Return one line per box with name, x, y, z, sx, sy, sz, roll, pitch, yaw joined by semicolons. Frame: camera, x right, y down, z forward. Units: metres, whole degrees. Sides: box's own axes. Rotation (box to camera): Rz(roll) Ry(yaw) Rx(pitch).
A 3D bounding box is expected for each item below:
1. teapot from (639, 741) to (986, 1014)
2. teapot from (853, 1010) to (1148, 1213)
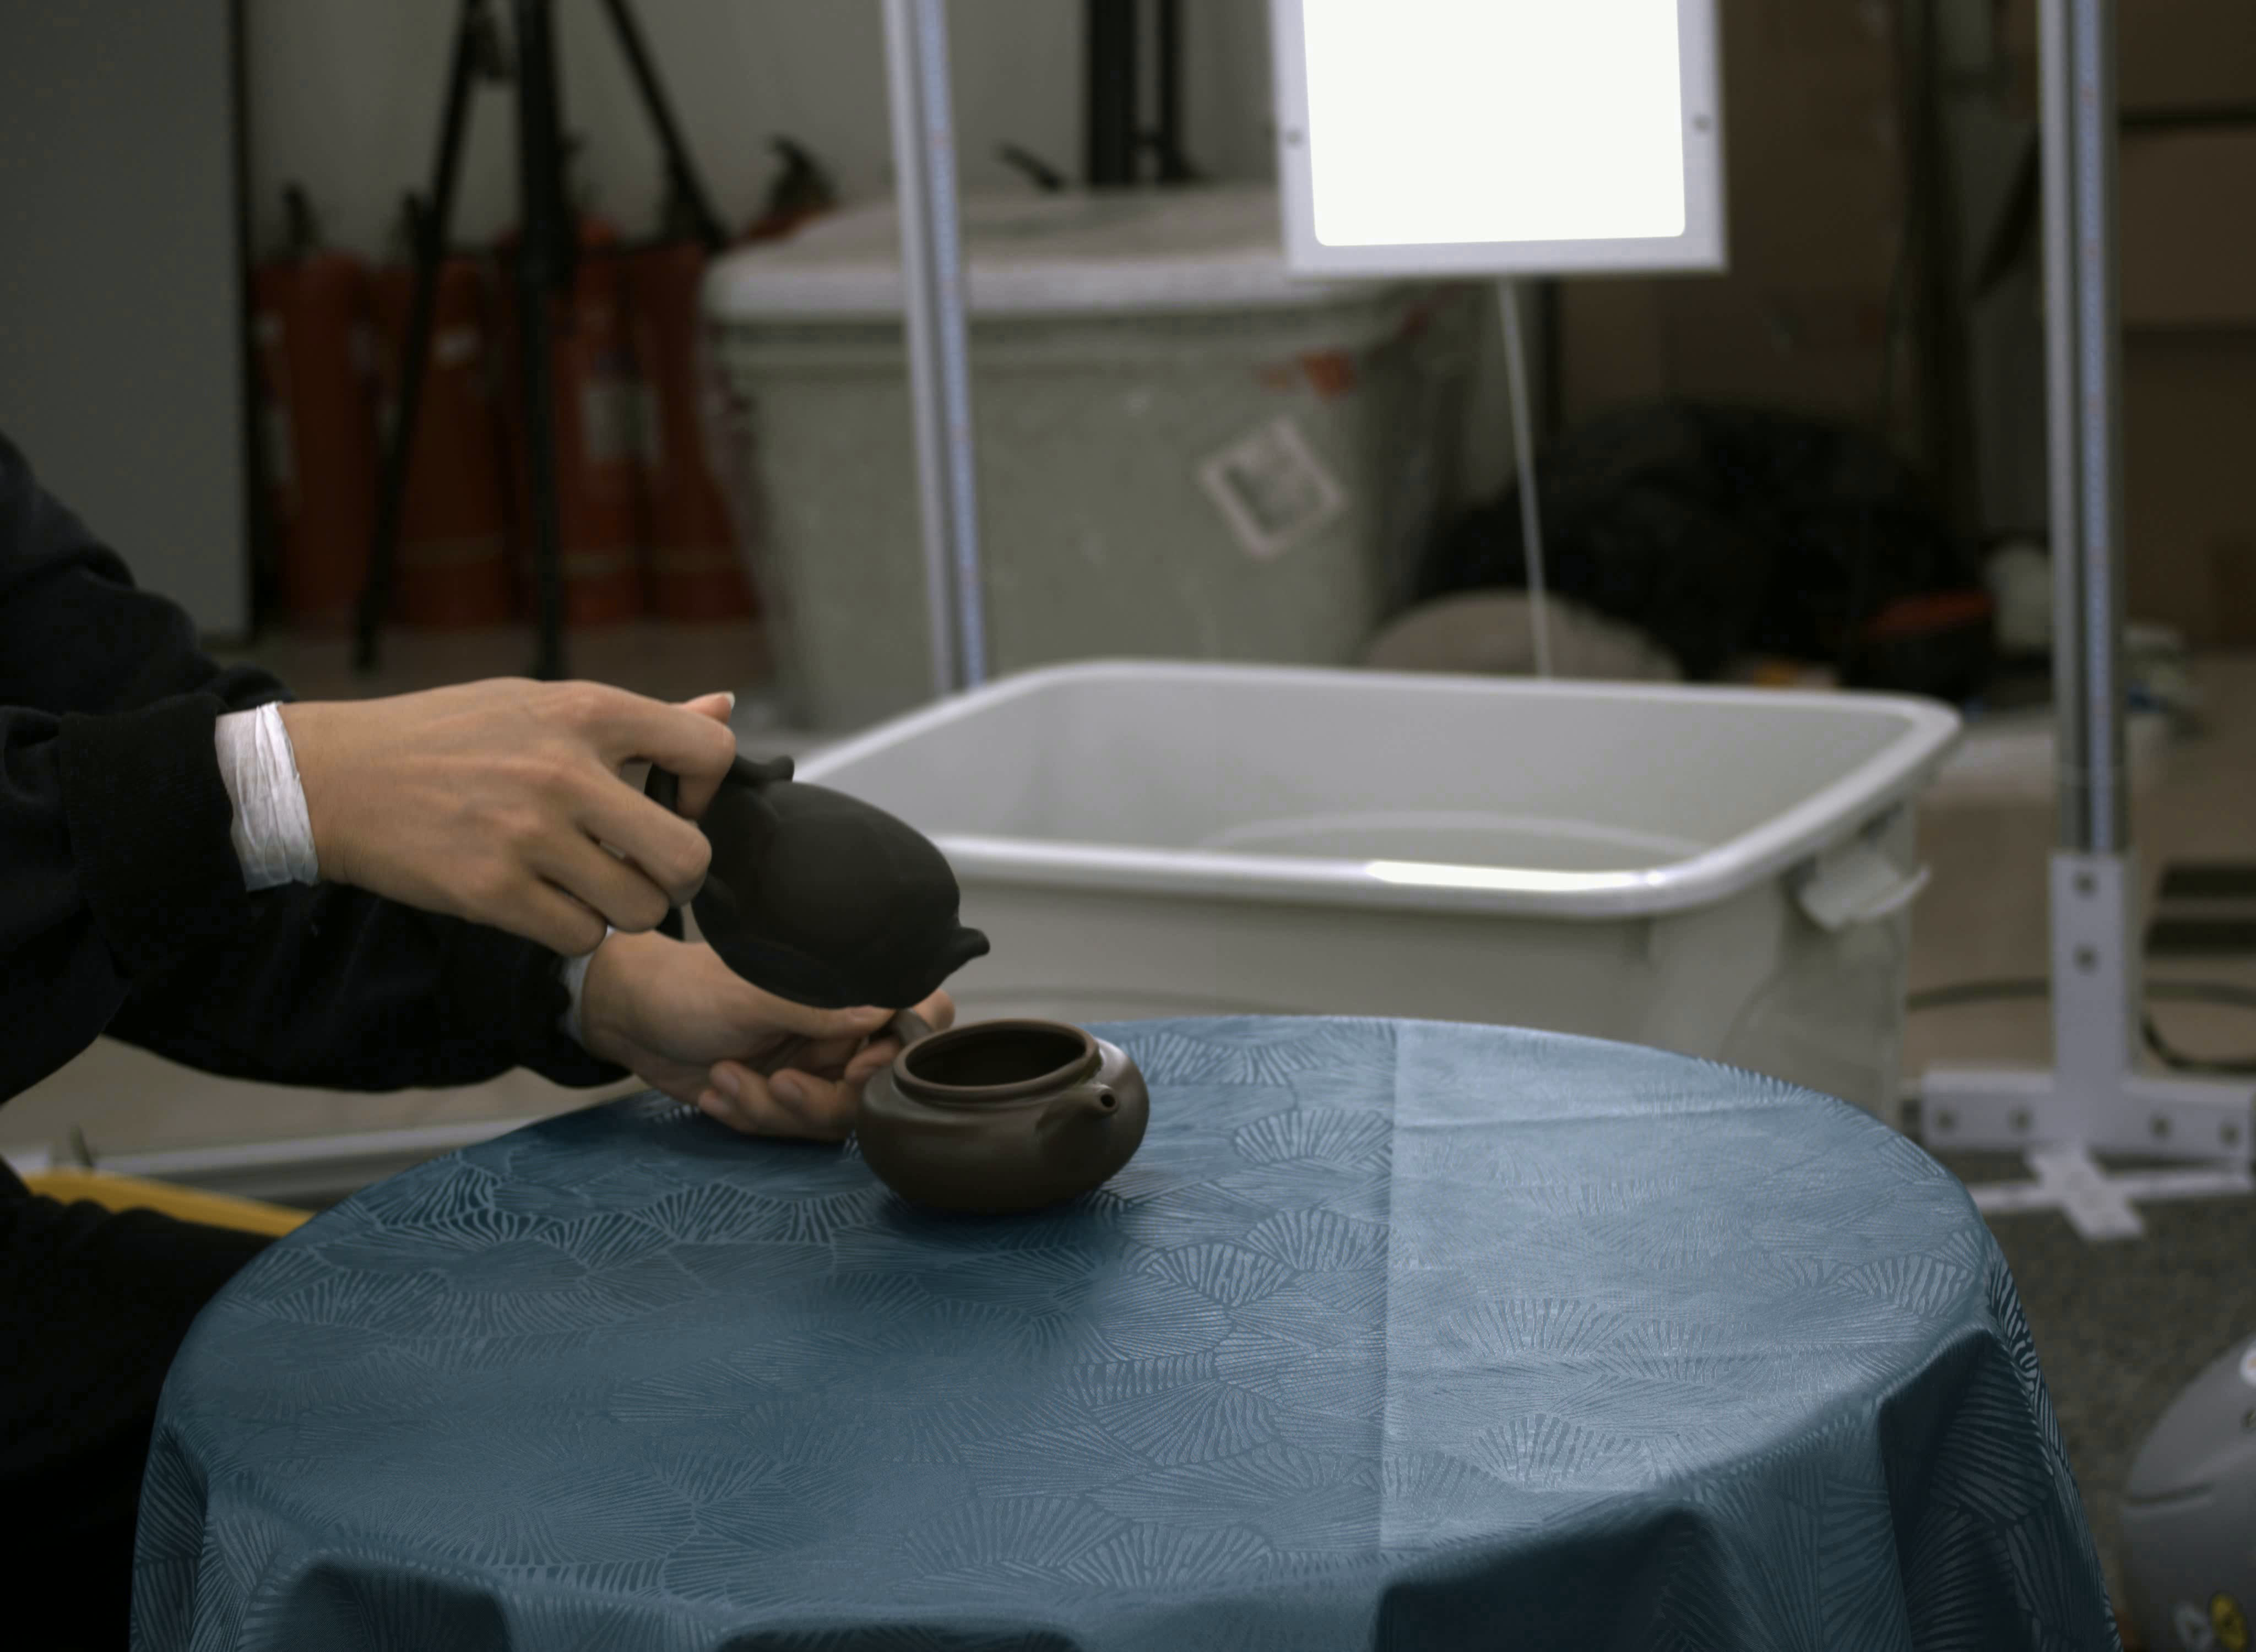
teapot;-0.105;0.022;1.828;0.152;0.064;0.094;36;-26;-34
teapot;-0.047;0.098;1.911;0.100;0.054;0.156;-17;21;-35
